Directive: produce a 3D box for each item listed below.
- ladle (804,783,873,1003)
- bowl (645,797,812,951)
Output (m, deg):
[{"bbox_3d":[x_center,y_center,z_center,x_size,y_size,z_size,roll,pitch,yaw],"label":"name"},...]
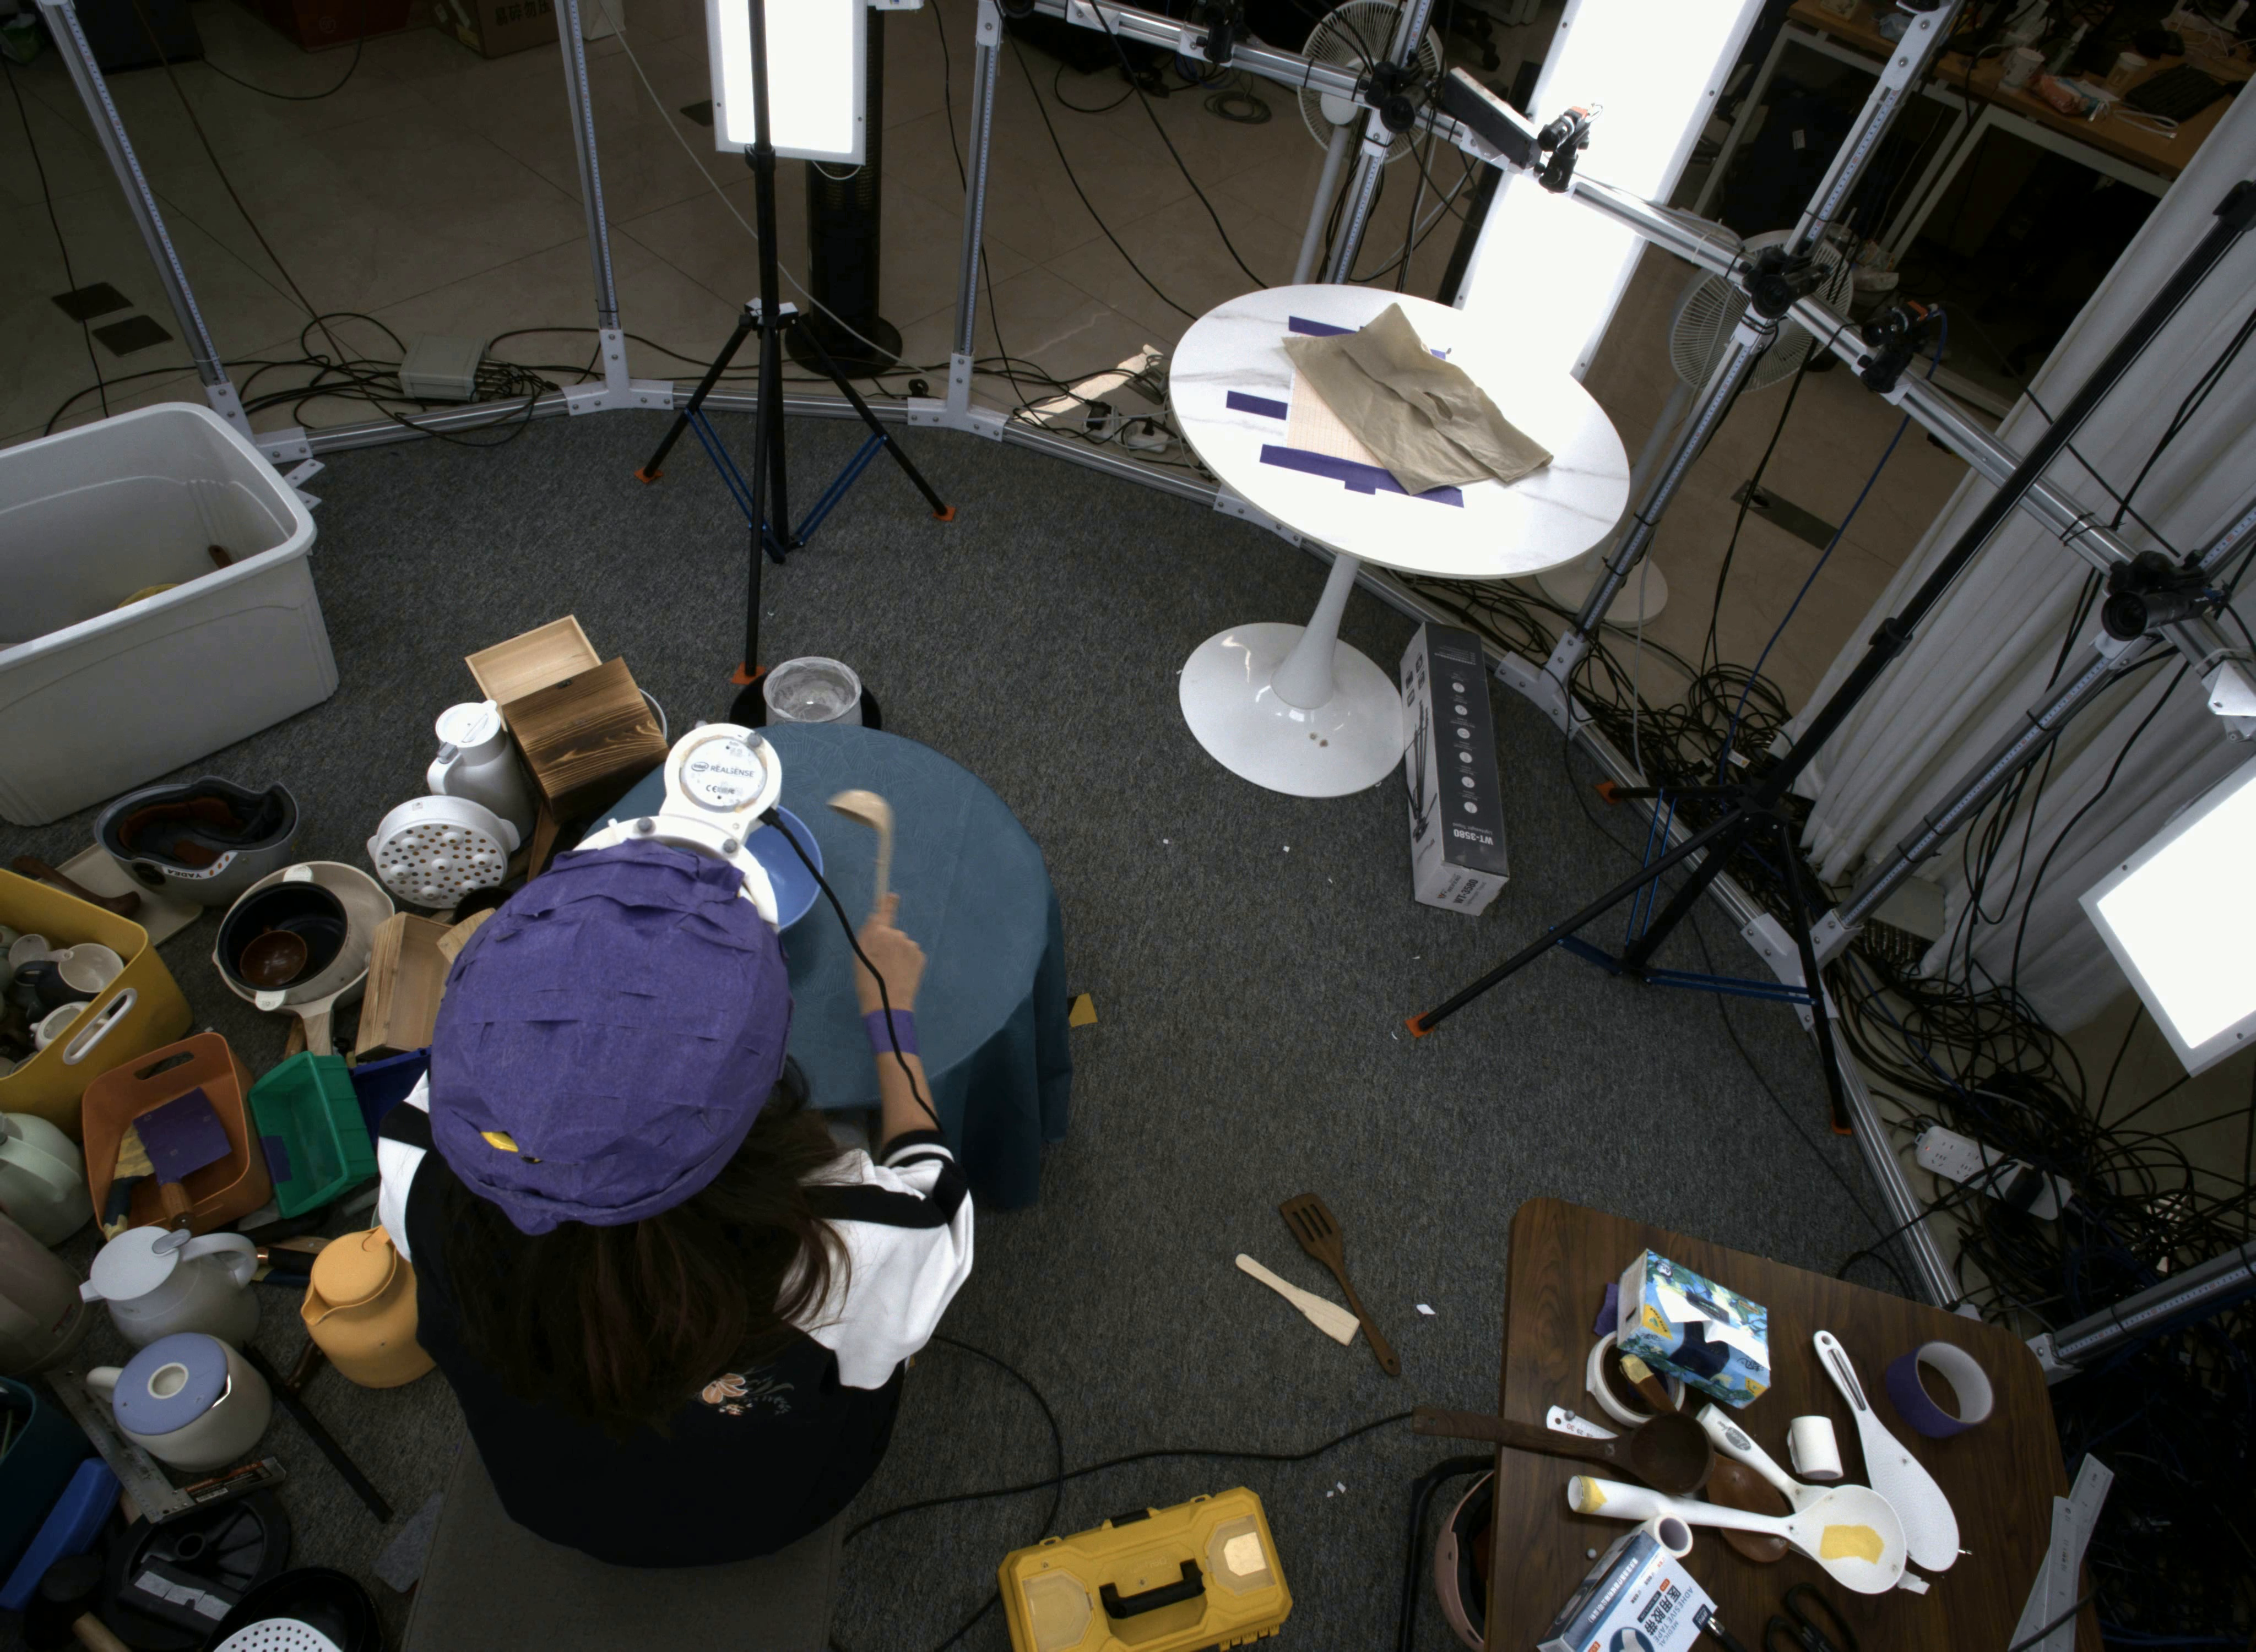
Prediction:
[{"bbox_3d":[-0.327,0.077,1.464,0.071,0.074,0.253,-7,73,7],"label":"ladle"},{"bbox_3d":[-0.489,0.071,1.570,0.198,0.096,0.193,14,54,-18],"label":"bowl"}]
